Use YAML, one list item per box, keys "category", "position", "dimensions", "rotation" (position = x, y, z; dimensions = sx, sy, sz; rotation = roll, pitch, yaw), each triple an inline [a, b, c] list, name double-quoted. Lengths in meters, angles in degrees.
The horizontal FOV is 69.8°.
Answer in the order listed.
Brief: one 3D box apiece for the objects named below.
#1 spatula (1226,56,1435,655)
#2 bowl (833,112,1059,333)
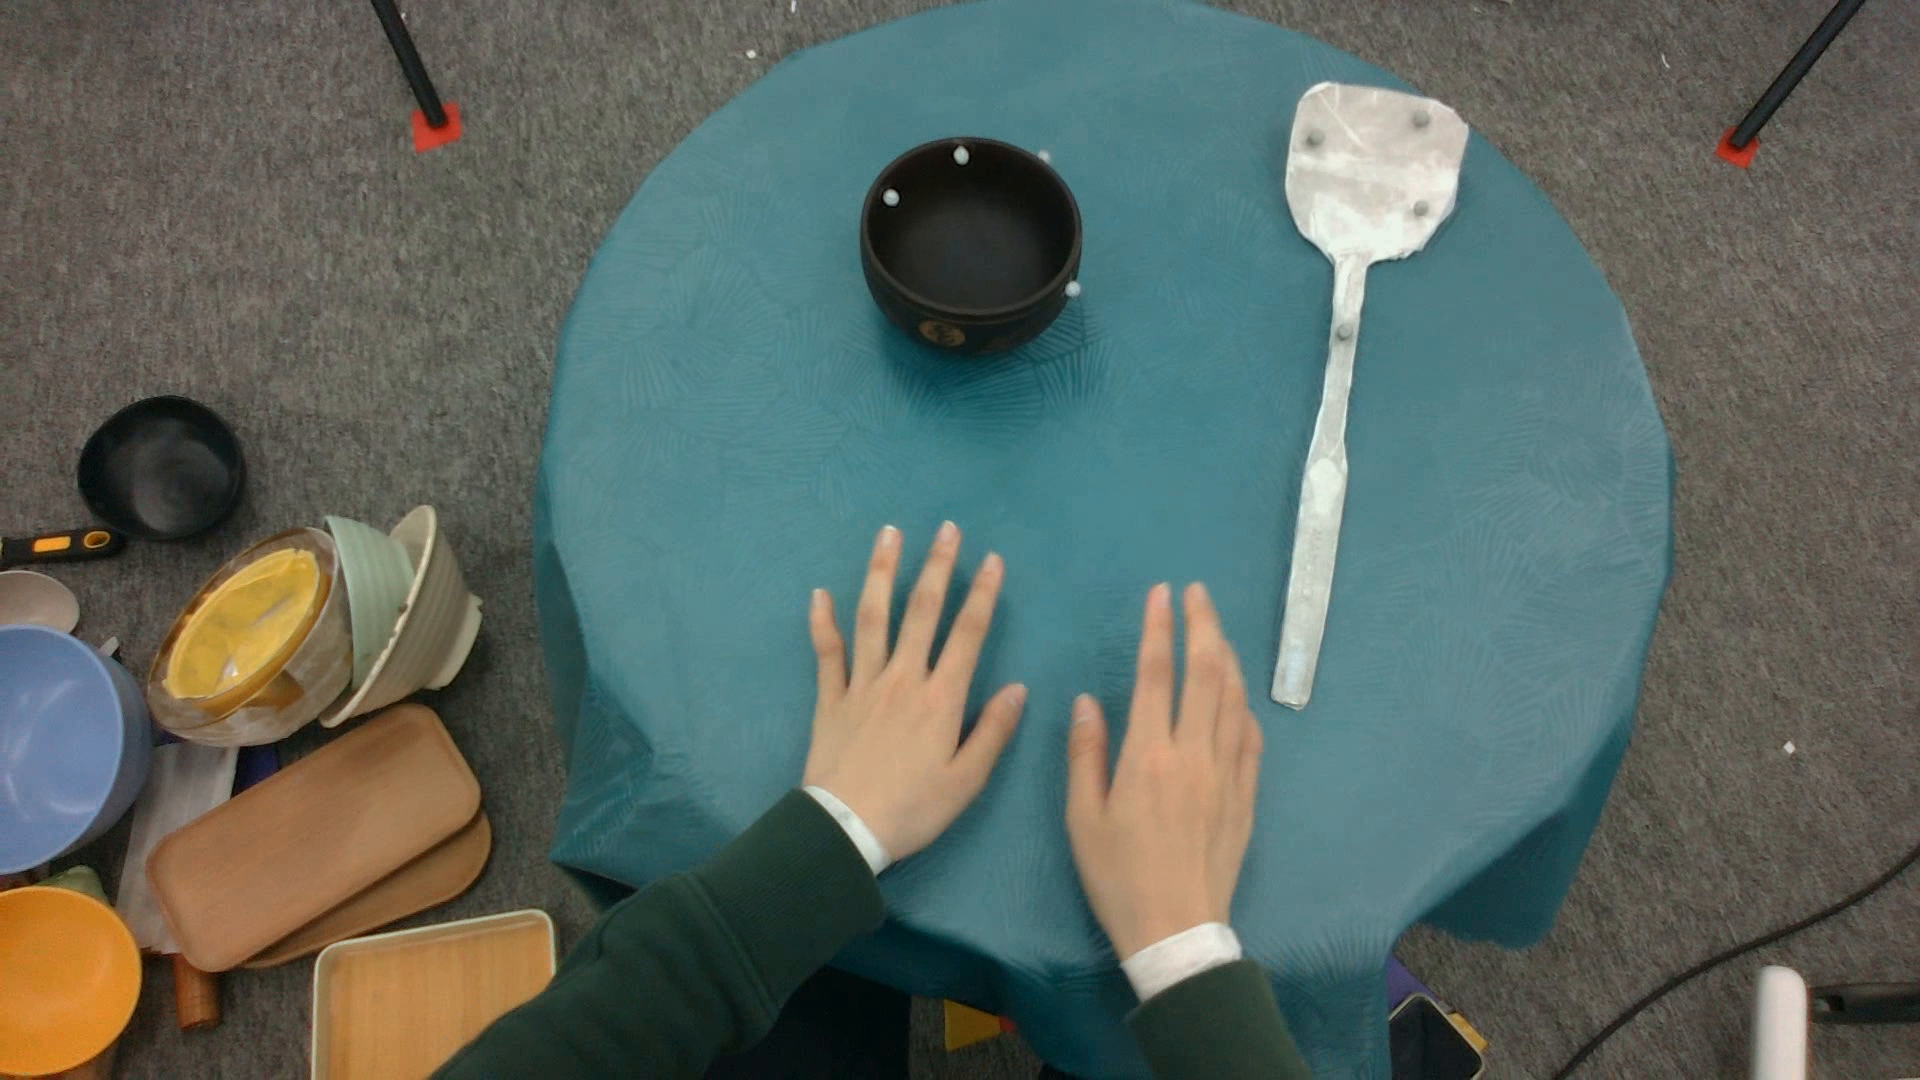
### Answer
- category: "spatula"
  position: [0.187, -0.108, 0.740]
  dimensions: [0.099, 0.044, 0.366]
  rotation: [14, 65, 2]
- category: "bowl"
  position: [-0.008, -0.161, 0.736]
  dimensions: [0.118, 0.069, 0.118]
  rotation: [0, 65, -1]
